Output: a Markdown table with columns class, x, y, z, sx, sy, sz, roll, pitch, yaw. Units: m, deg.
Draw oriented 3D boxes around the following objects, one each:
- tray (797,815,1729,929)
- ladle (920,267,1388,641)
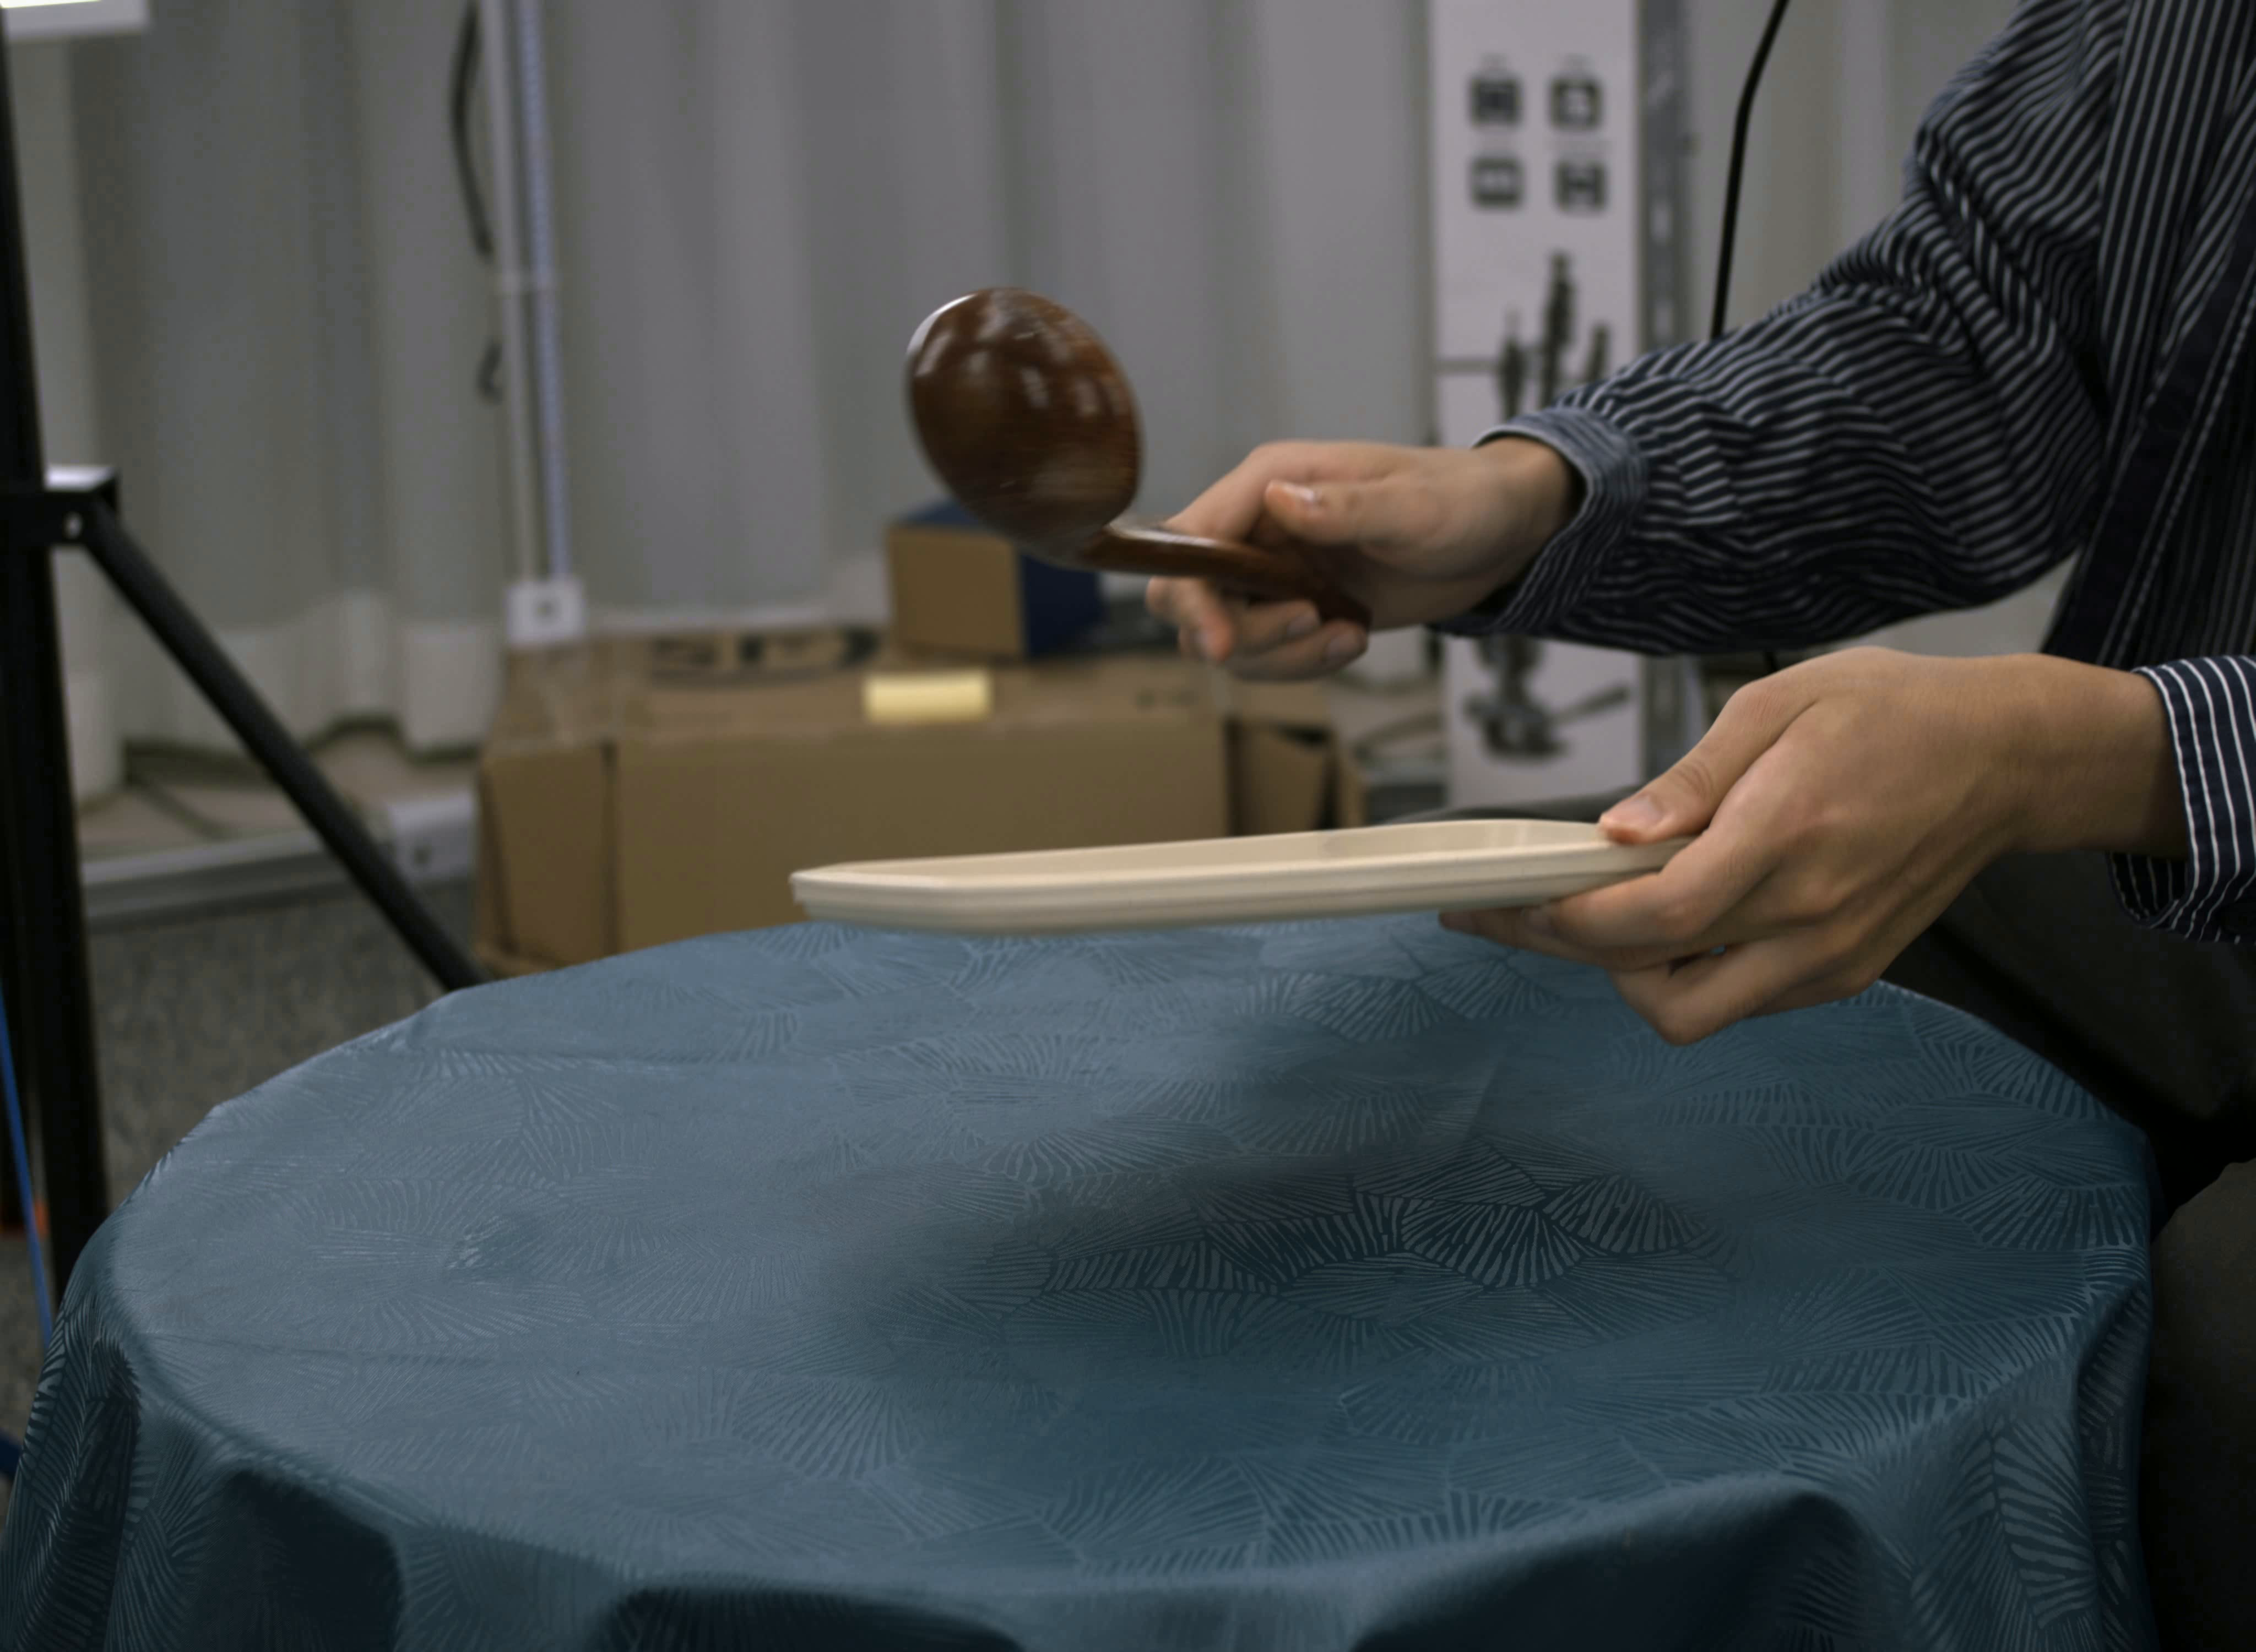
| class | x | y | z | sx | sy | sz | roll | pitch | yaw |
| --- | --- | --- | --- | --- | --- | --- | --- | --- | --- |
| tray | 0.037 | 0.013 | 1.511 | 0.235 | 0.017 | 0.174 | -3 | 3 | -21 |
| ladle | 0.023 | -0.113 | 1.653 | 0.083 | 0.077 | 0.267 | 33 | 11 | 29 |
